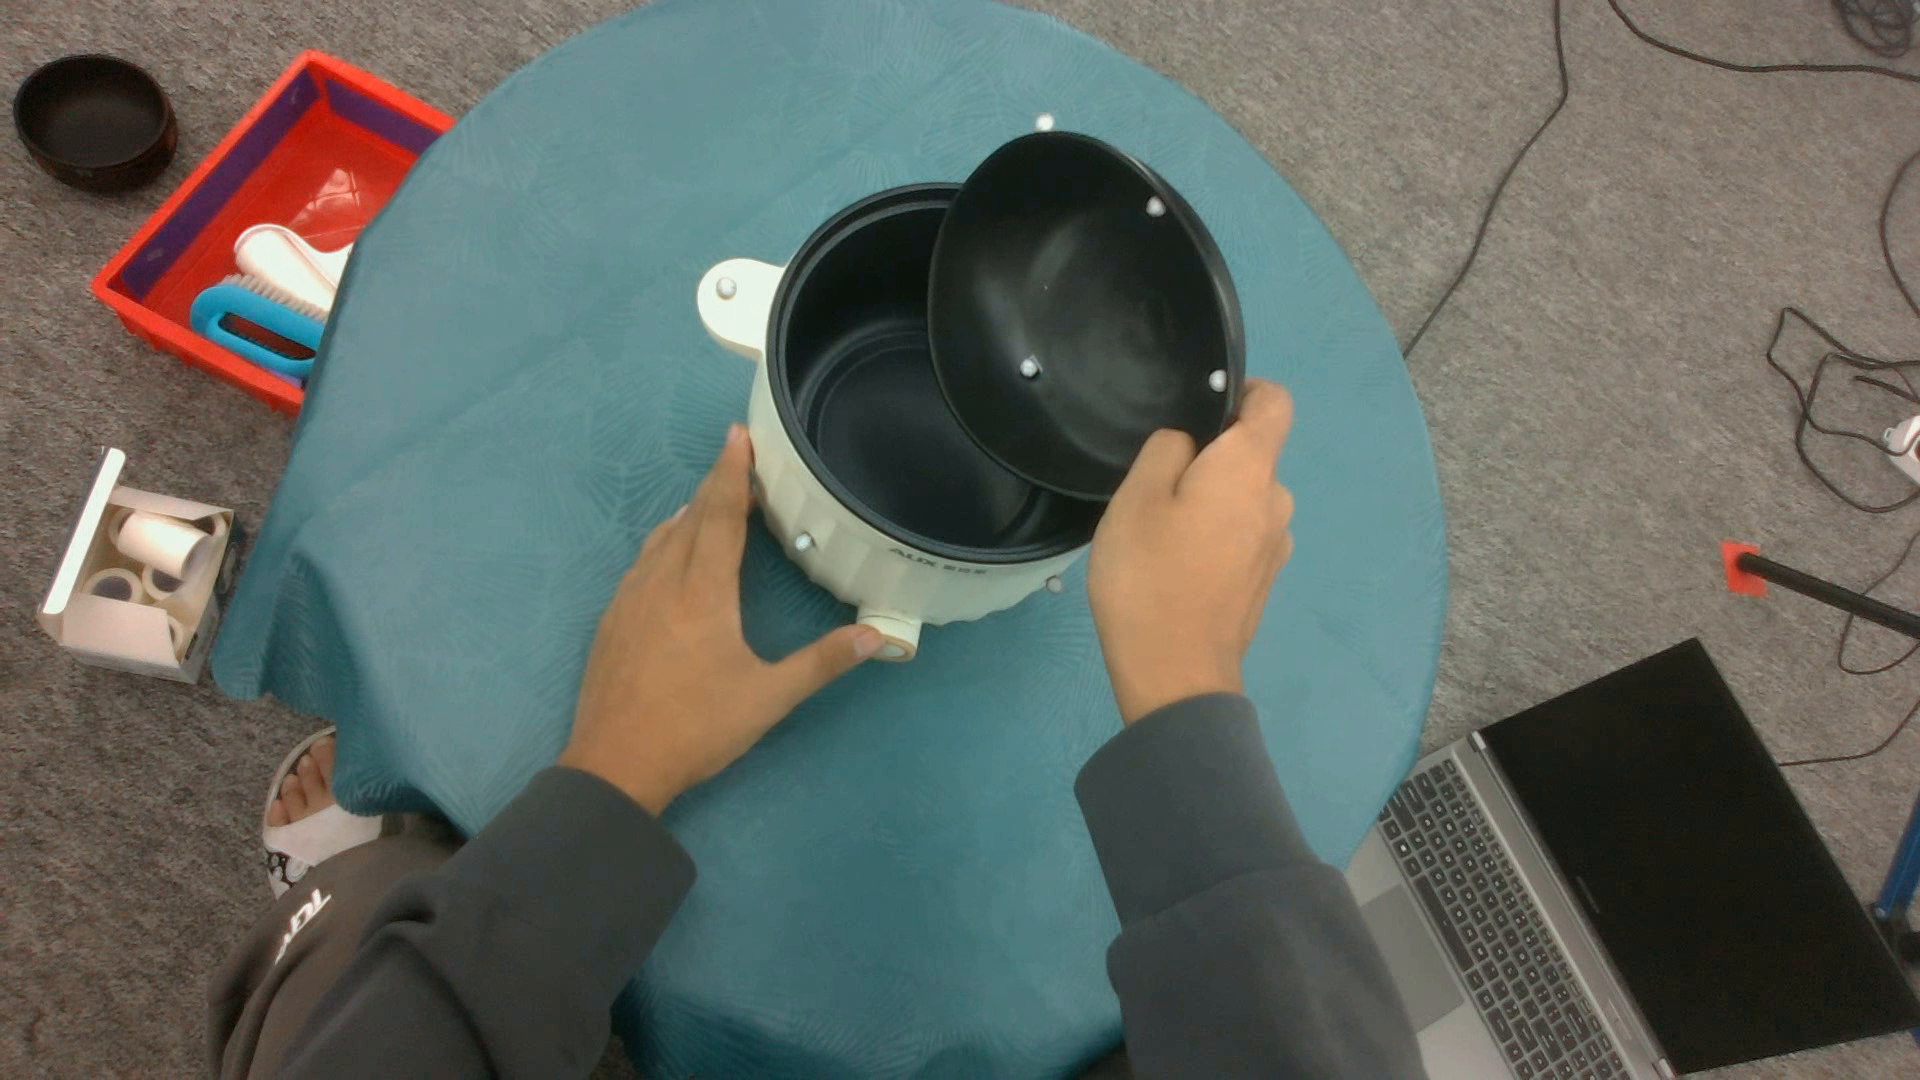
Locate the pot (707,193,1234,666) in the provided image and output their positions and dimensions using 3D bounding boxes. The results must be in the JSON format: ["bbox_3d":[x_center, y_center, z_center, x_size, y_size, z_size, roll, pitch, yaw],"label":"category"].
[{"bbox_3d":[-0.005,-0.046,0.660,0.240,0.142,0.191,10,64,-9],"label":"pot"}]

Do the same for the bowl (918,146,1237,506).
[{"bbox_3d":[0.059,-0.091,0.591,0.067,0.136,0.170,-9,44,-46],"label":"bowl"}]
